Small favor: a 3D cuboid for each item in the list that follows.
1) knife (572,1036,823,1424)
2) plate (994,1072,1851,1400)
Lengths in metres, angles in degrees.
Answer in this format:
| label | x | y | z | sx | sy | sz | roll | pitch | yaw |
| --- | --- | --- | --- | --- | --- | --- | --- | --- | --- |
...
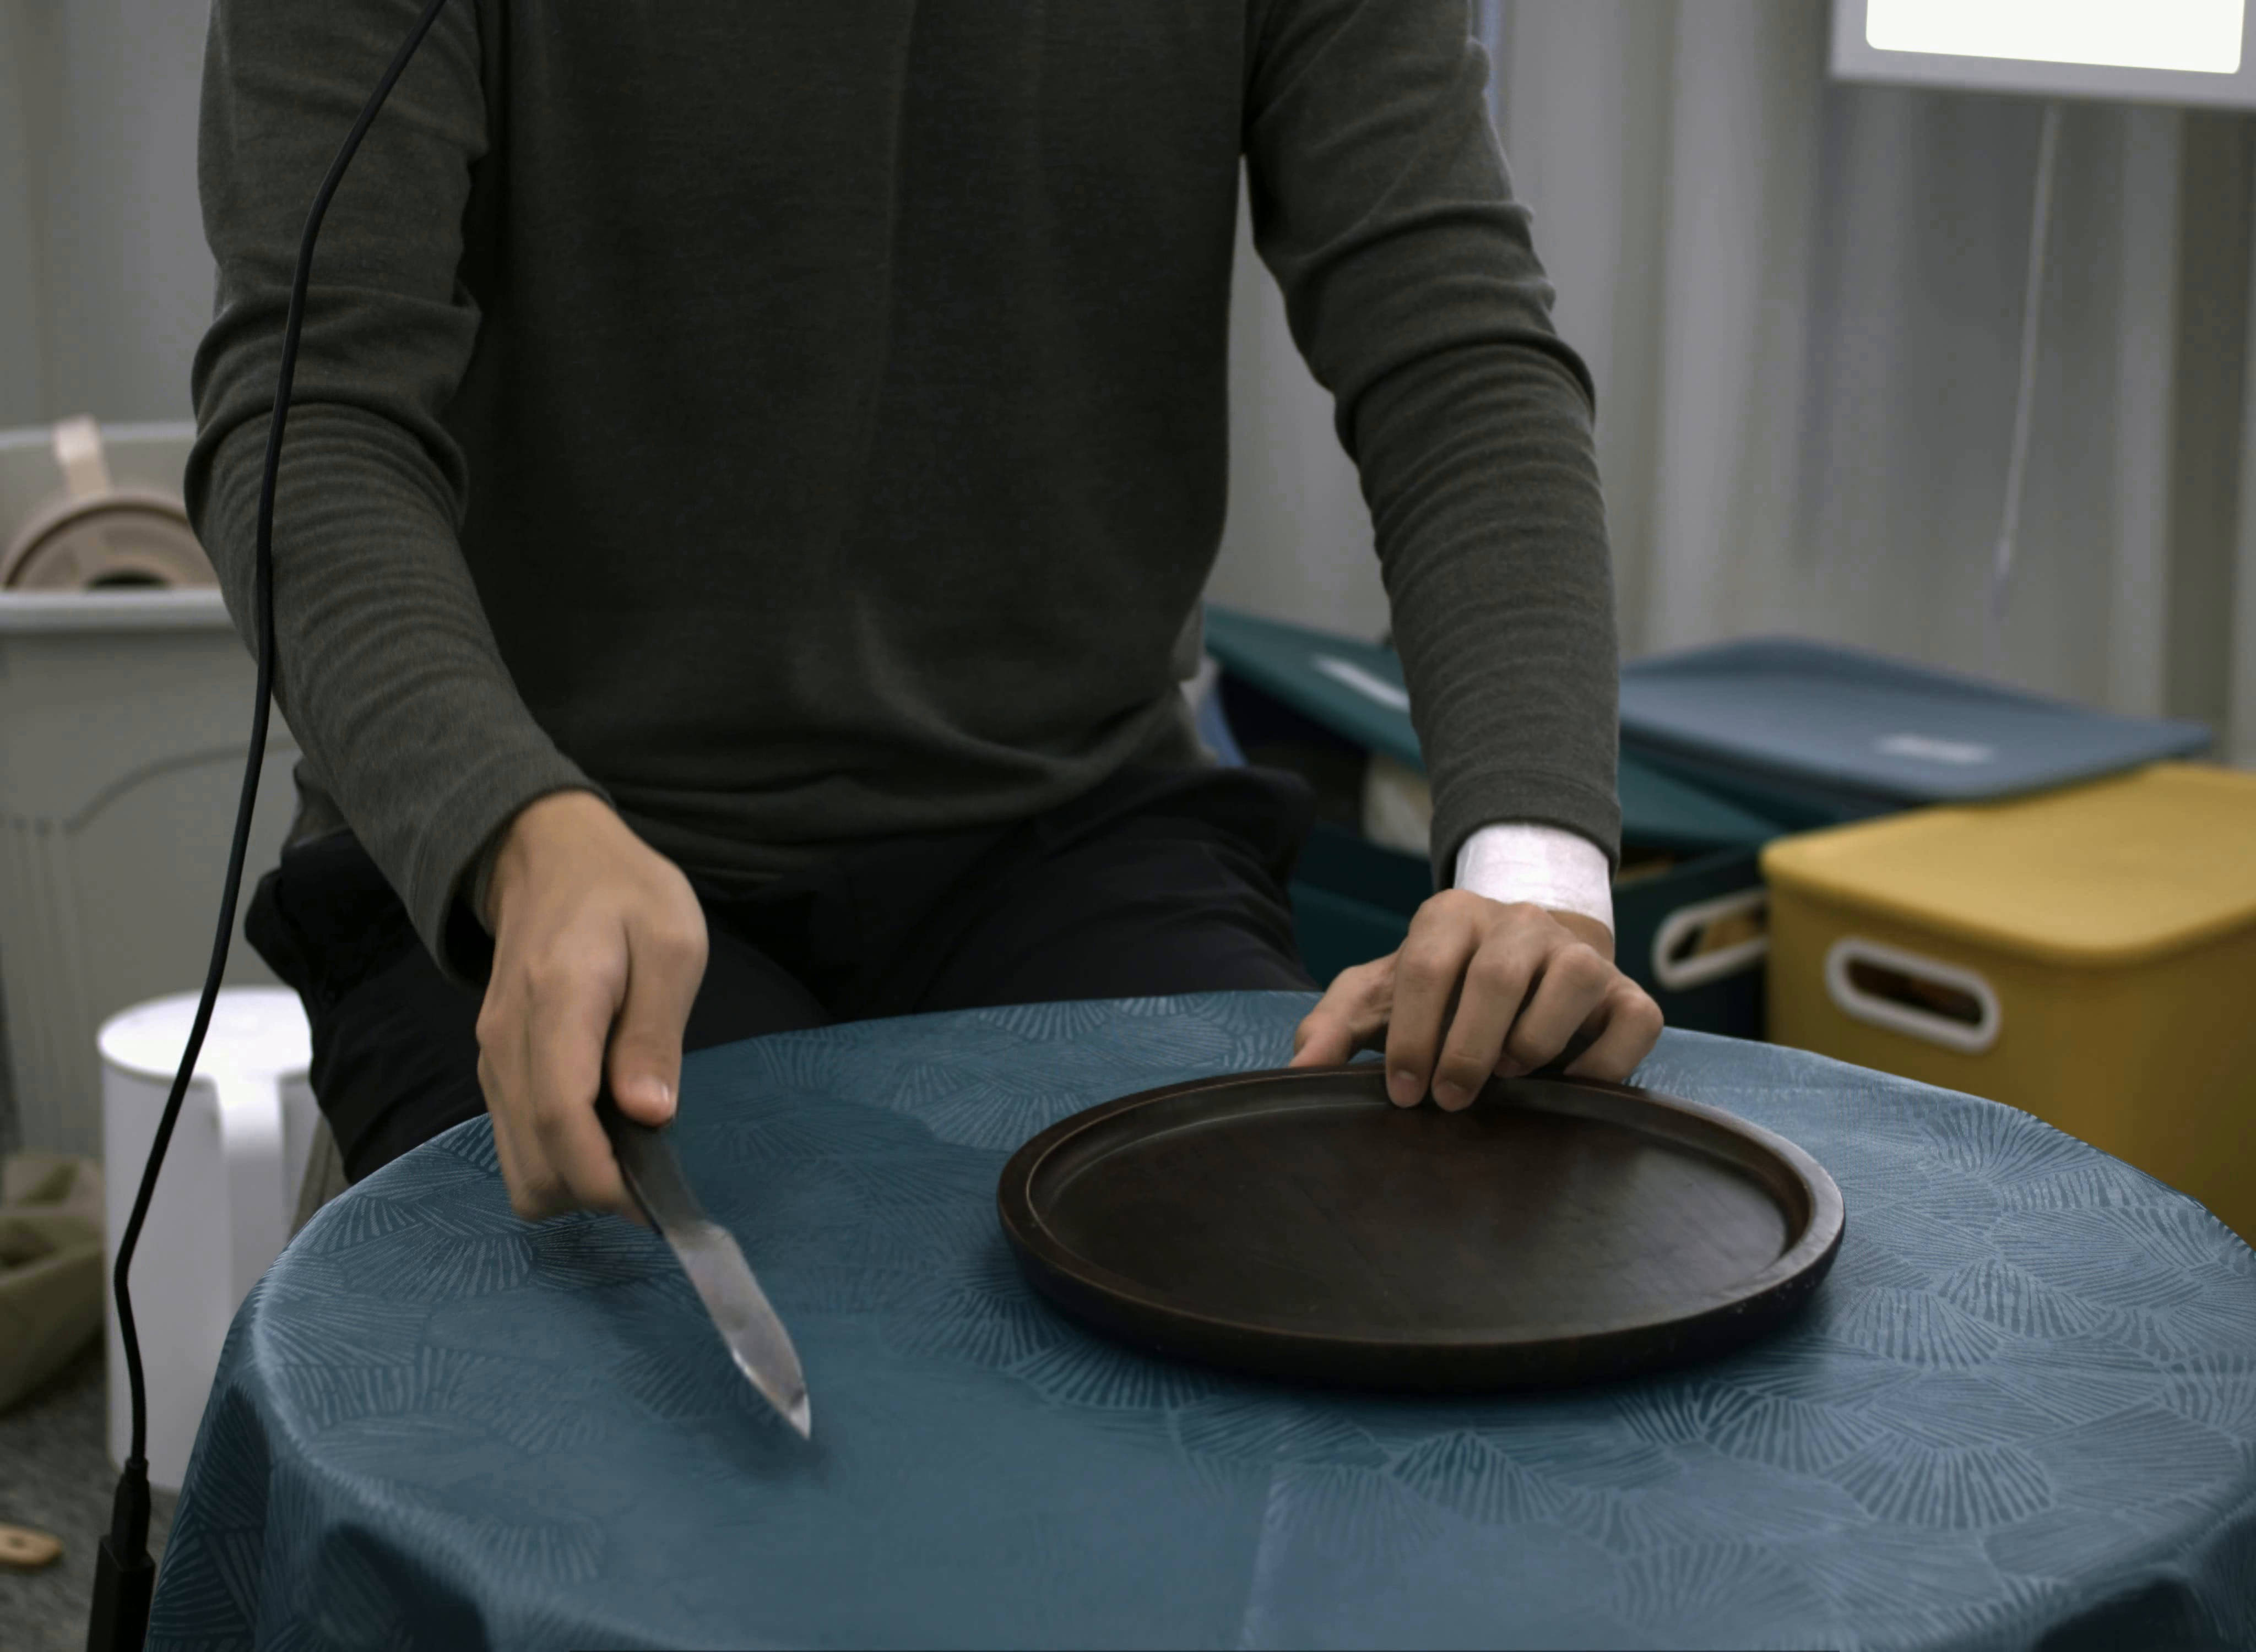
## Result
| label | x | y | z | sx | sy | sz | roll | pitch | yaw |
| --- | --- | --- | --- | --- | --- | --- | --- | --- | --- |
| knife | -0.123 | 0.112 | 1.490 | 0.024 | 0.016 | 0.235 | 10 | 18 | -25 |
| plate | 0.087 | 0.118 | 1.565 | 0.254 | 0.029 | 0.253 | 2 | 16 | 0 |
